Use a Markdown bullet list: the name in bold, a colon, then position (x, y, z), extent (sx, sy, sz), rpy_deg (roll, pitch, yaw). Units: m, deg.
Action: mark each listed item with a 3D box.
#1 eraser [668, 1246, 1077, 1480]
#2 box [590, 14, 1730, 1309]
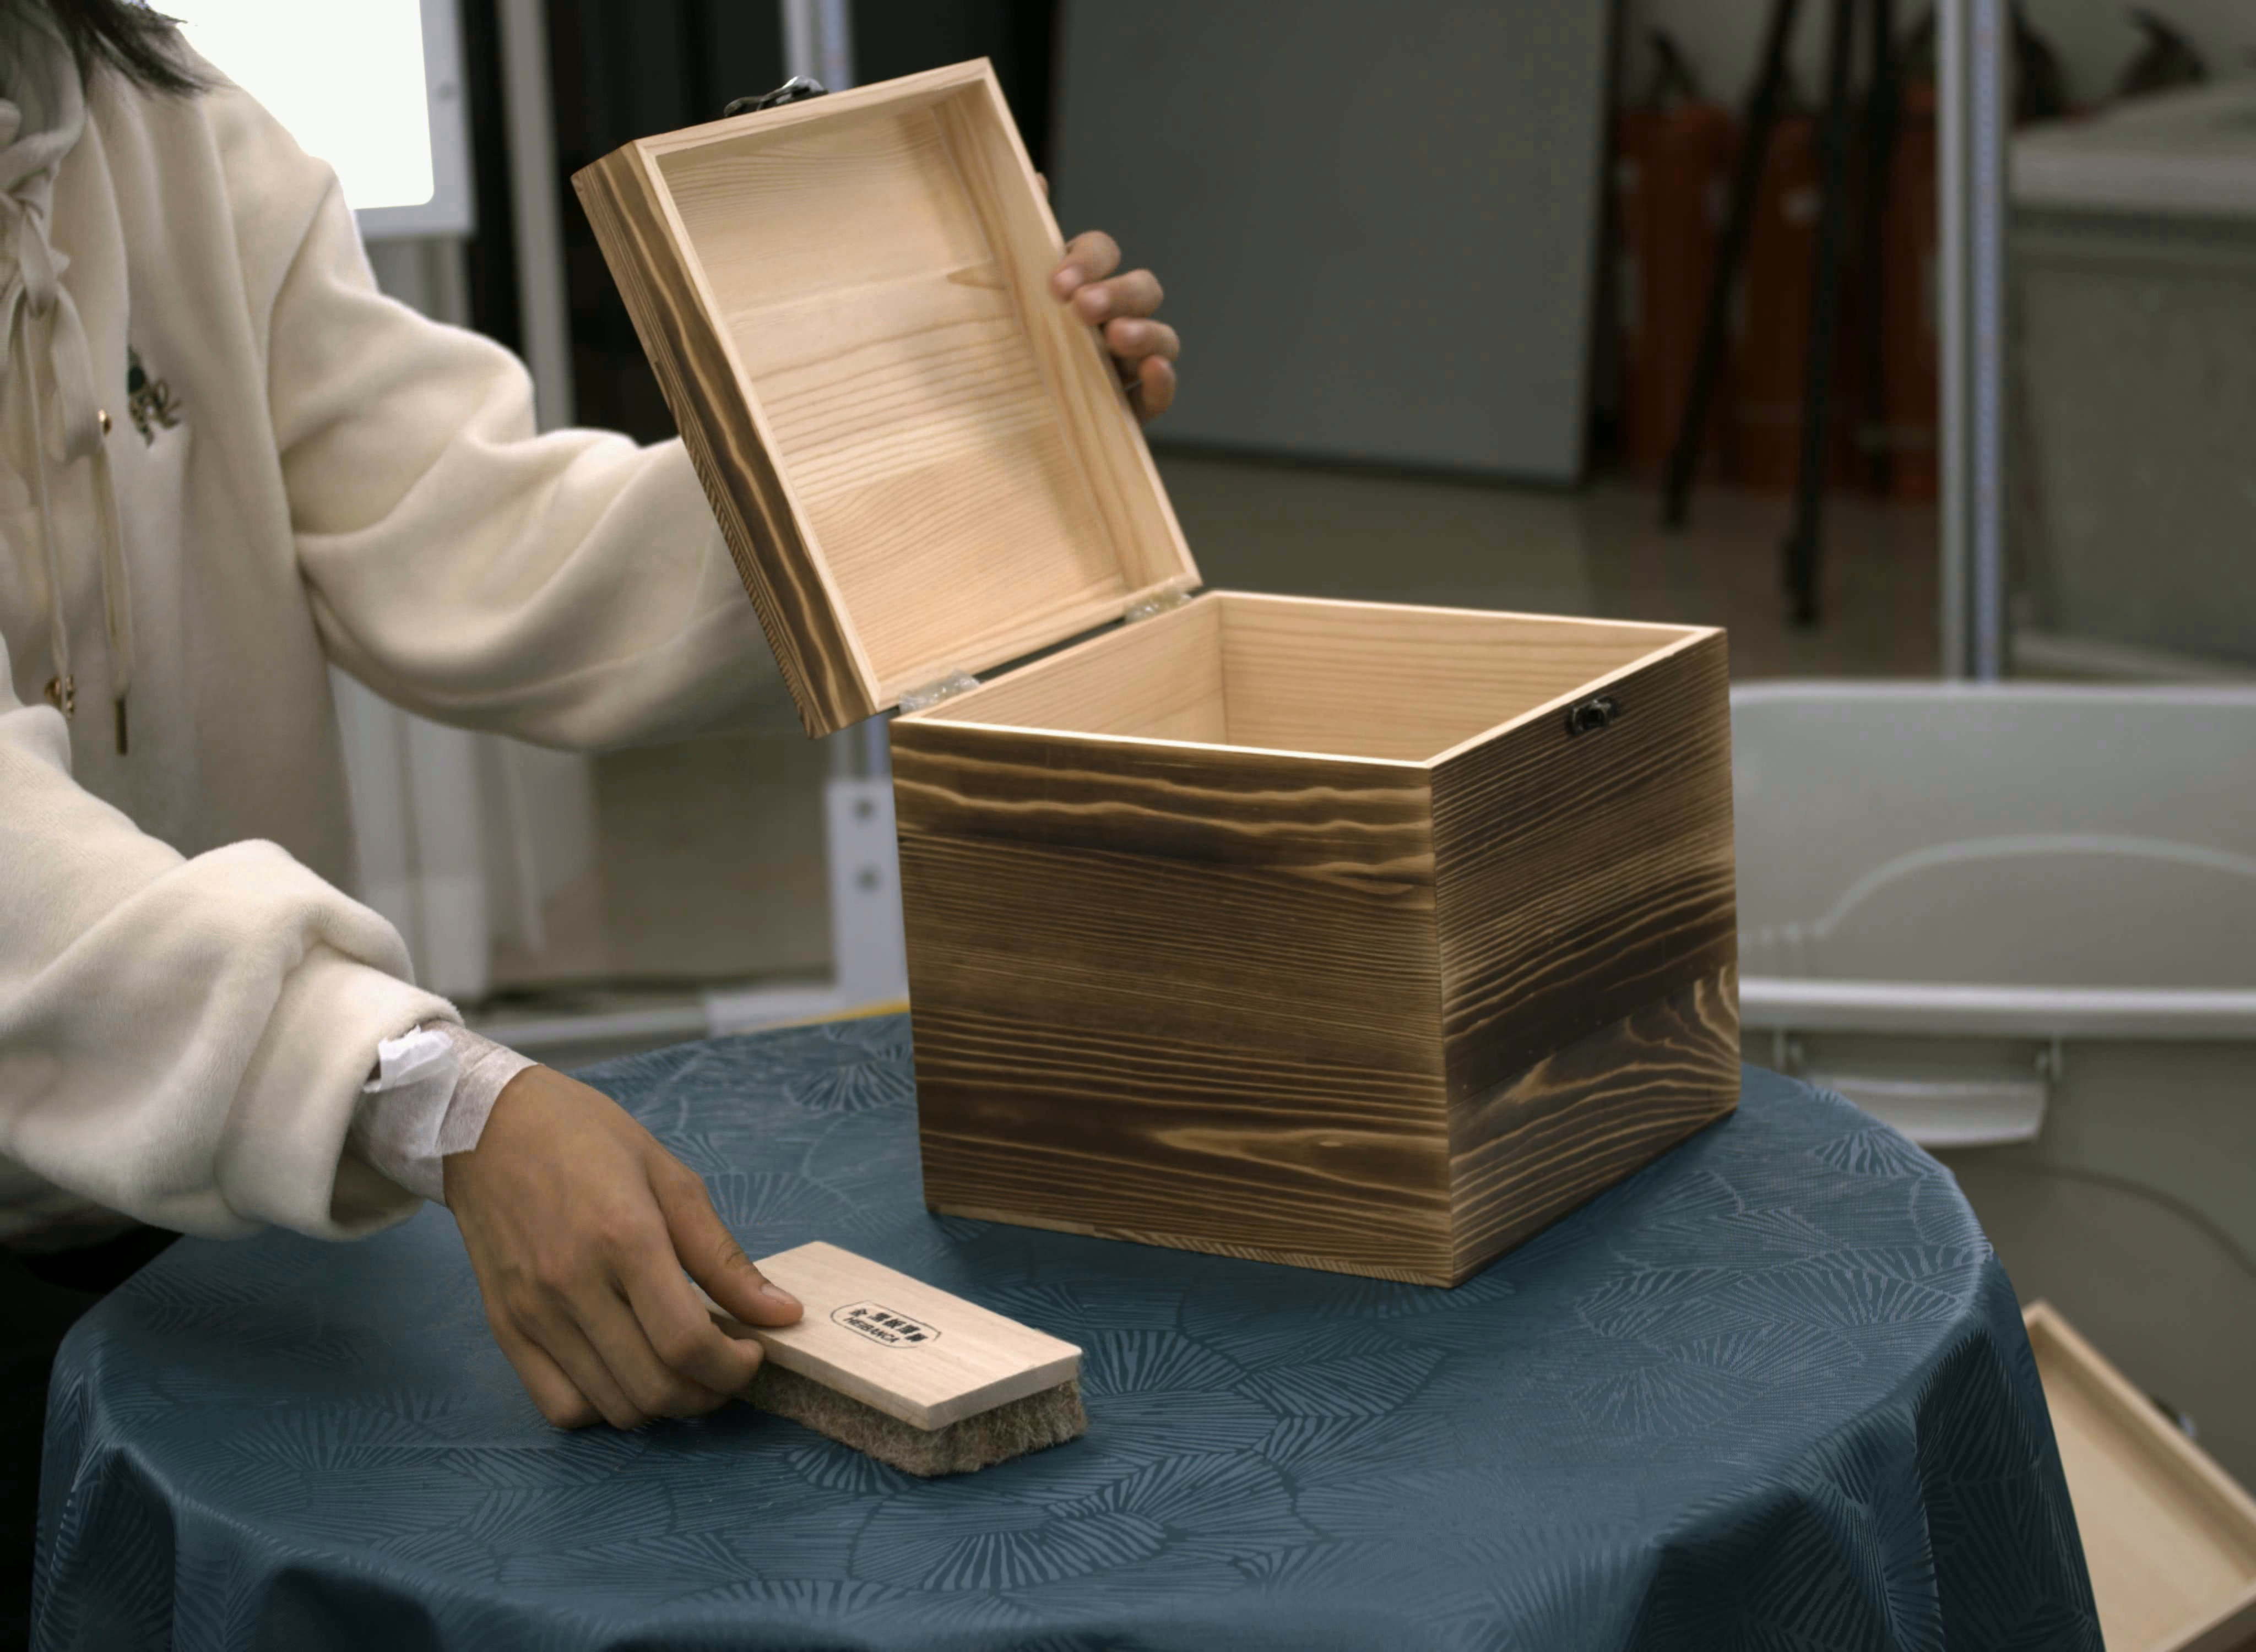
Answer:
- **eraser**: position (-0.075, 0.158, 1.584), extent (0.056, 0.029, 0.141), rpy_deg (-17, 18, -32)
- **box**: position (0.015, -0.069, 1.770), extent (0.324, 0.379, 0.205), rpy_deg (5, 17, 33)
